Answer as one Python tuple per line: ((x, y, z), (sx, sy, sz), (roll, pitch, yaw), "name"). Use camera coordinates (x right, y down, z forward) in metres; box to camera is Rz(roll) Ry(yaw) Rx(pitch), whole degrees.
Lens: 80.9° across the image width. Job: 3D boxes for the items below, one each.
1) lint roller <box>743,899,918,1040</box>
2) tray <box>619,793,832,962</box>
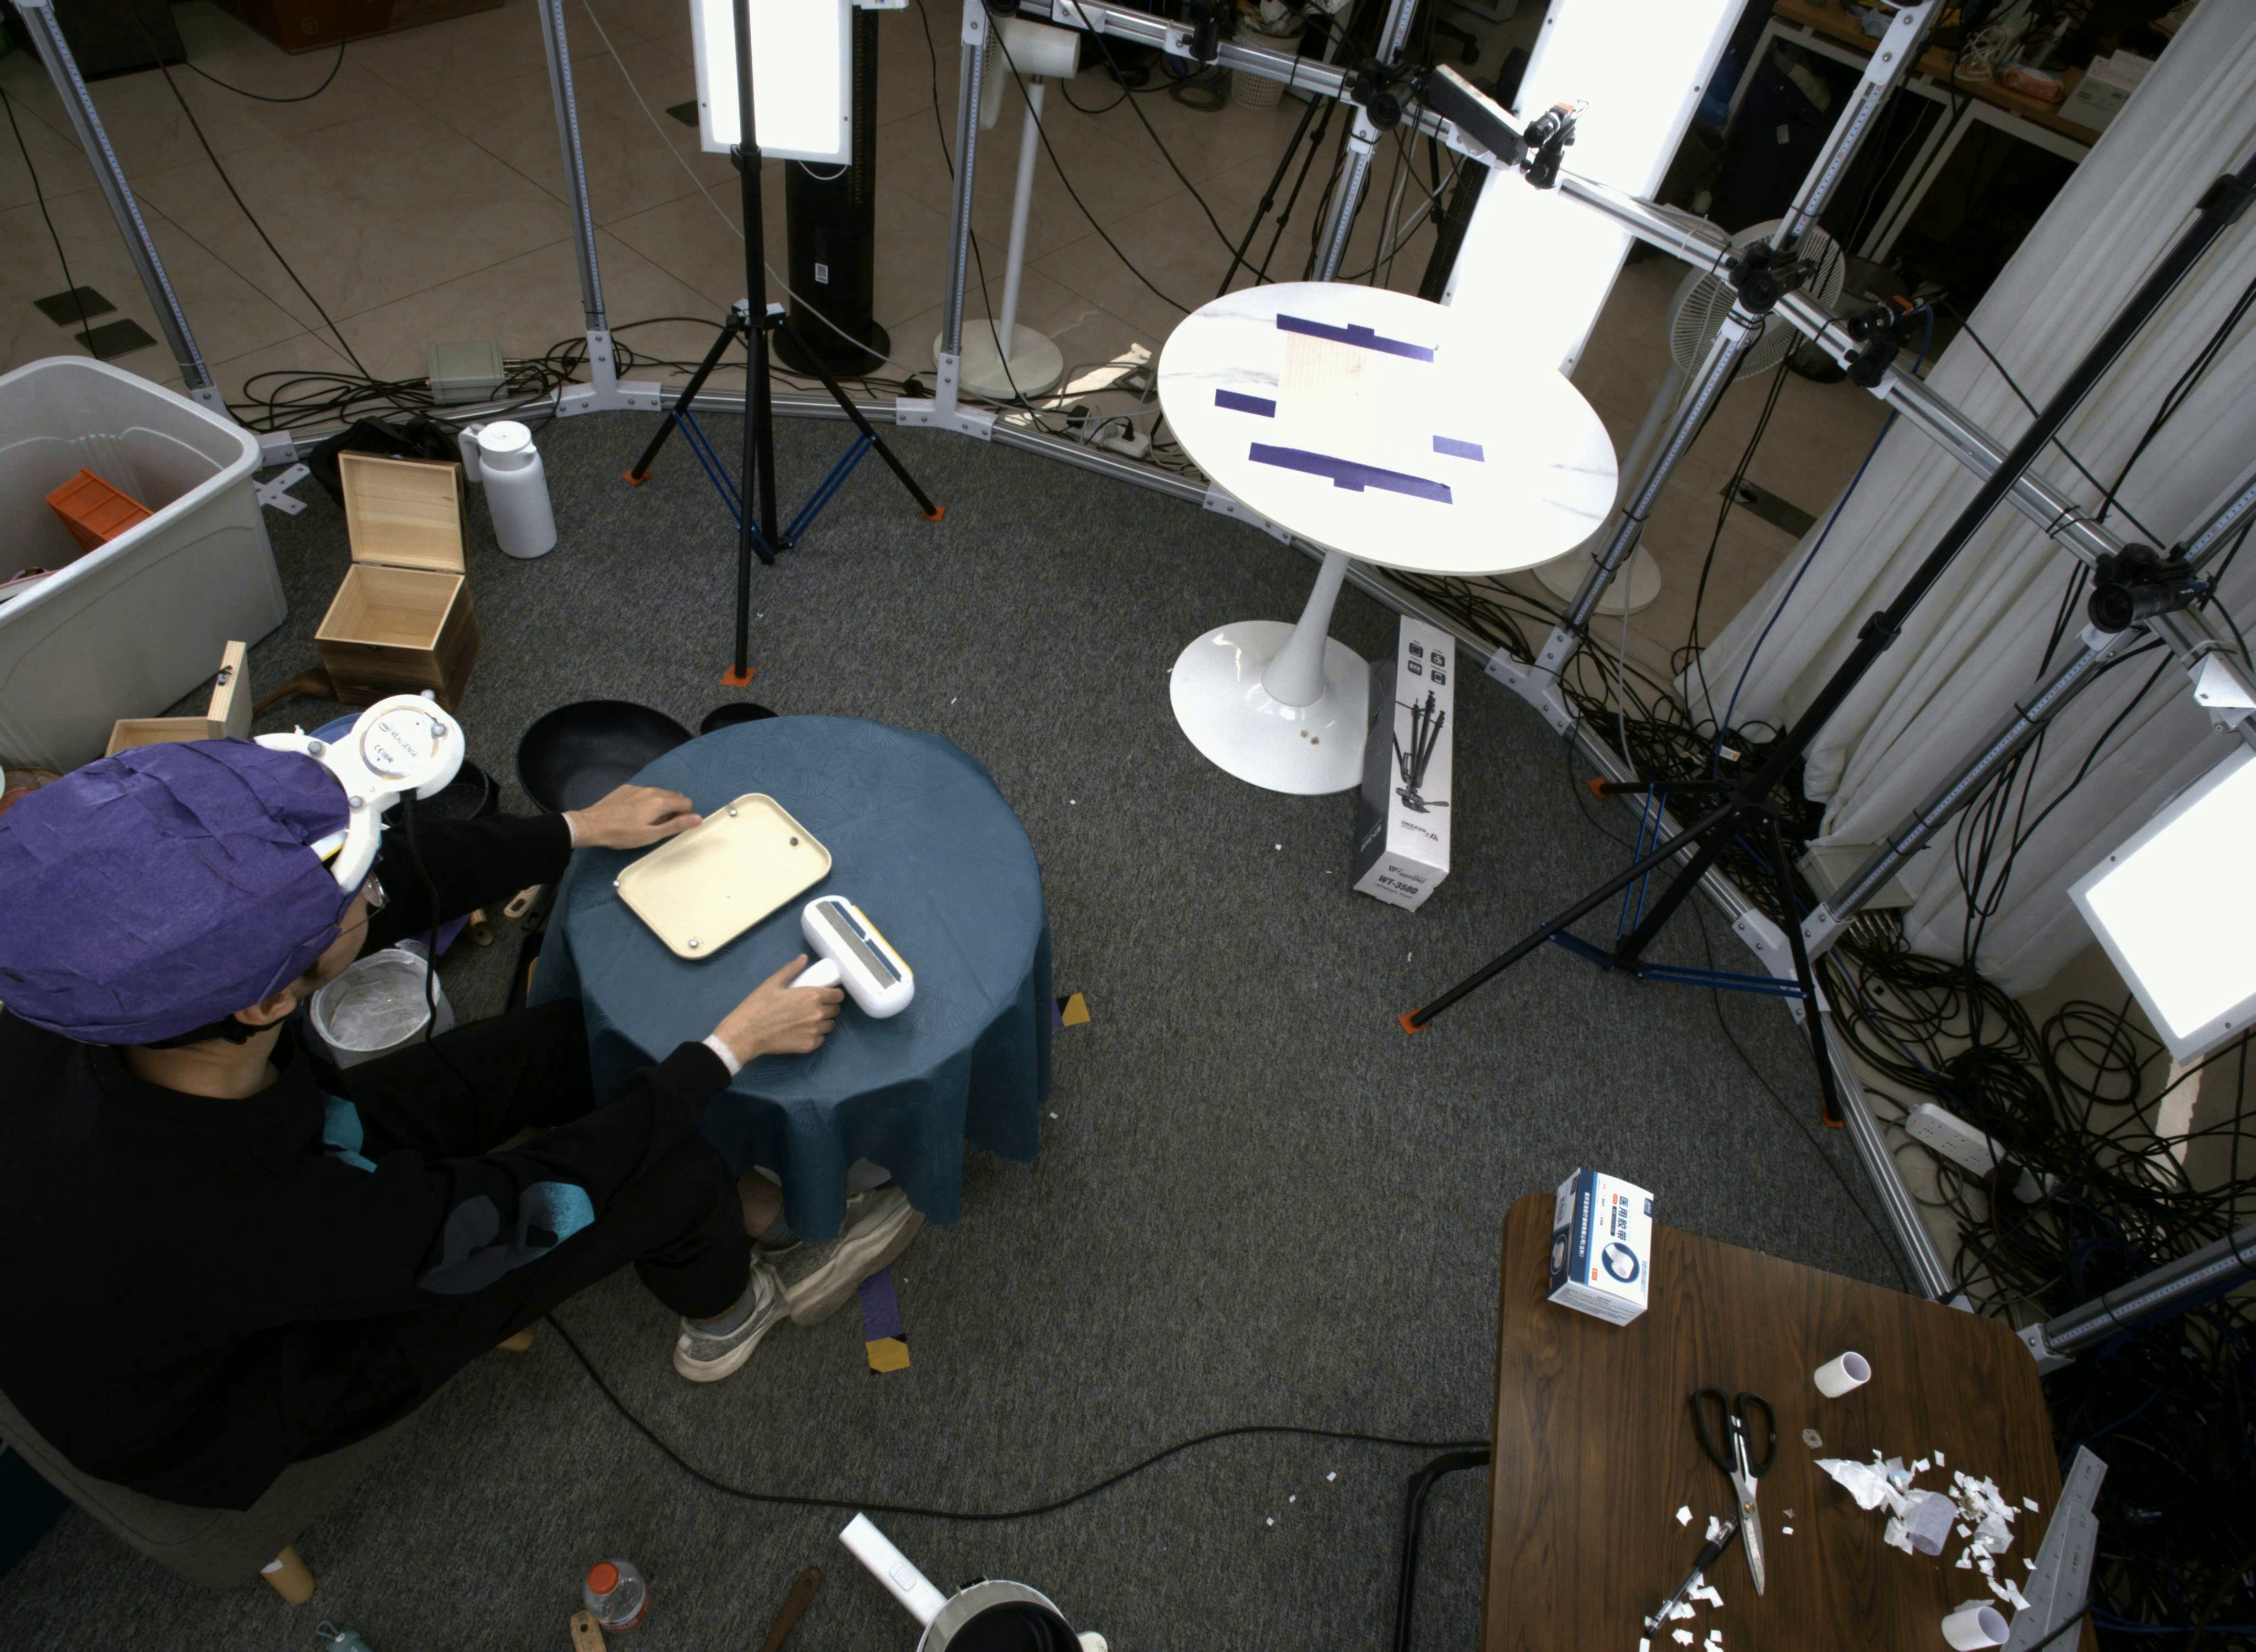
((-0.374, 0.188, 1.560), (0.193, 0.076, 0.187), (-26, 58, -28), "lint roller")
((-0.513, 0.062, 1.649), (0.168, 0.018, 0.240), (41, 55, 15), "tray")
